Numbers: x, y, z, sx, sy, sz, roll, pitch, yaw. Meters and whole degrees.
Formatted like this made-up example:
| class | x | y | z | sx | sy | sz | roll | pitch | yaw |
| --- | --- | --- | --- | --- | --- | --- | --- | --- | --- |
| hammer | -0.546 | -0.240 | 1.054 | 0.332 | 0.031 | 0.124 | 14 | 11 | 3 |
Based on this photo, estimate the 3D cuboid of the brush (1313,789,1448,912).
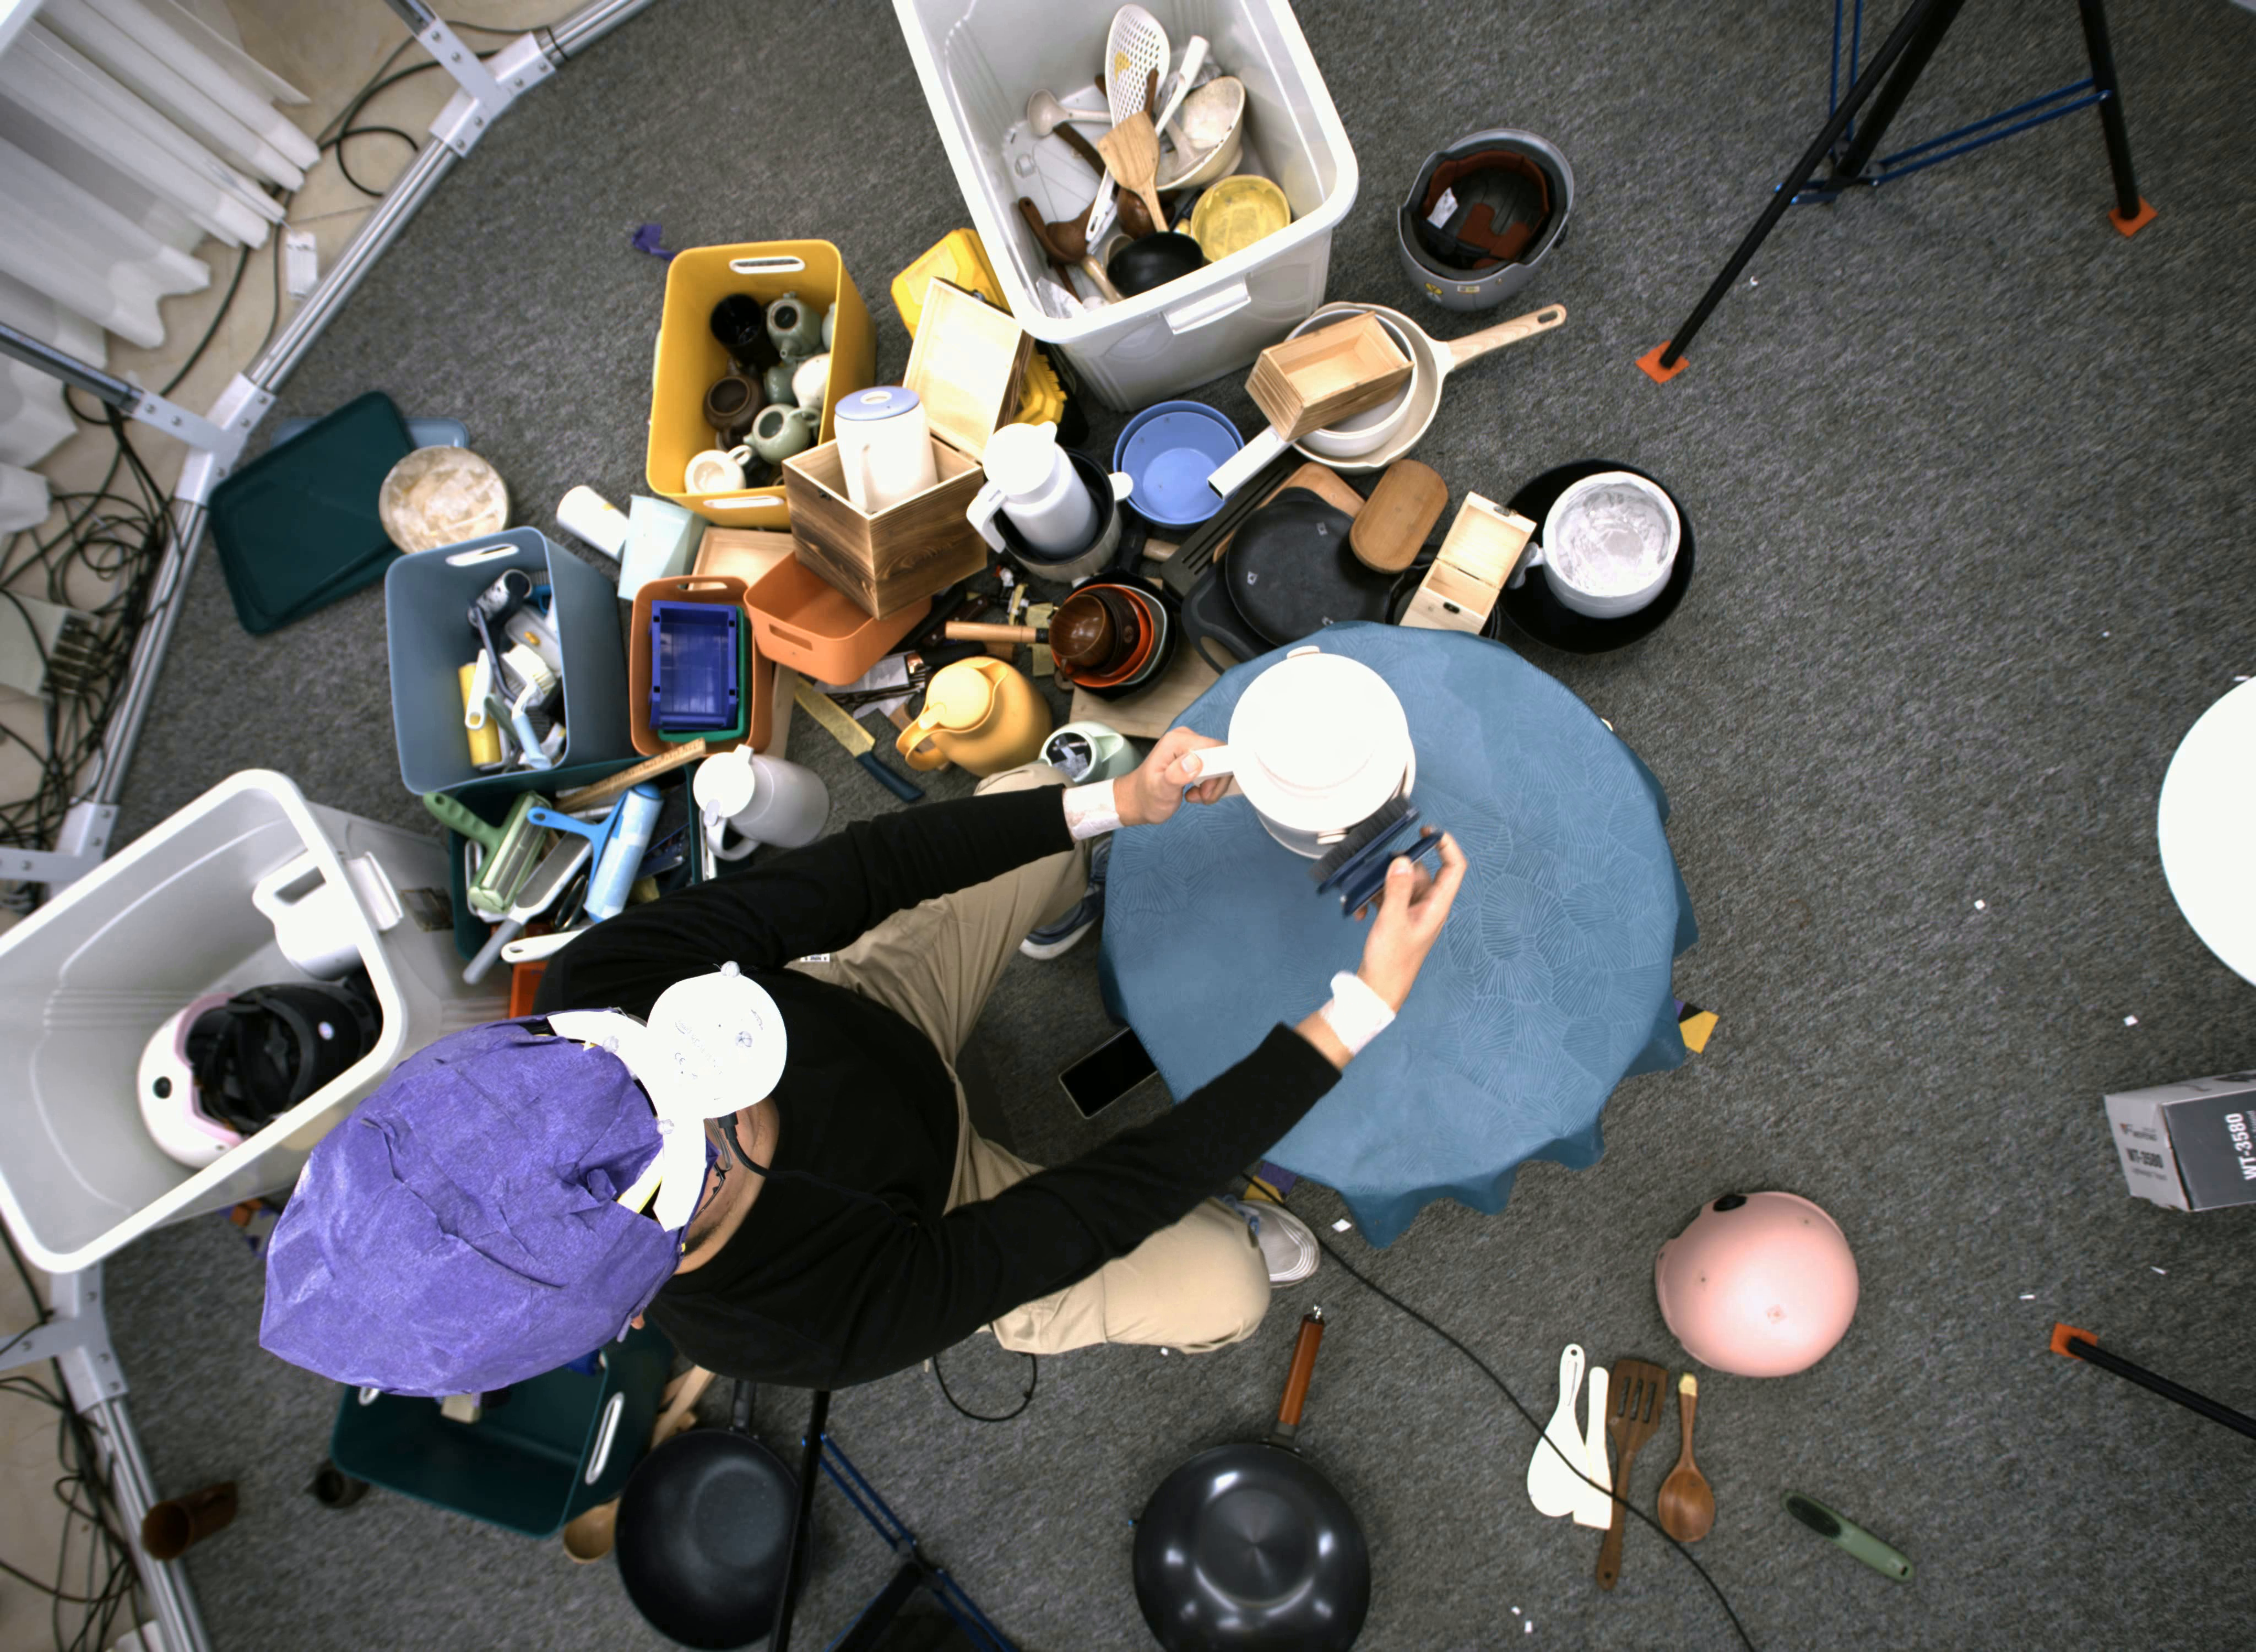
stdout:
| class | x | y | z | sx | sy | sz | roll | pitch | yaw |
| --- | --- | --- | --- | --- | --- | --- | --- | --- | --- |
| brush | 0.220 | 0.018 | 1.212 | 0.122 | 0.068 | 0.061 | -38 | 81 | 2 |

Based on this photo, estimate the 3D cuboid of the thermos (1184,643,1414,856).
| class | x | y | z | sx | sy | sz | roll | pitch | yaw |
| --- | --- | --- | --- | --- | --- | --- | --- | --- | --- |
| thermos | 0.164 | -0.065 | 1.286 | 0.208 | 0.406 | 0.174 | -10 | 84 | 9 |
